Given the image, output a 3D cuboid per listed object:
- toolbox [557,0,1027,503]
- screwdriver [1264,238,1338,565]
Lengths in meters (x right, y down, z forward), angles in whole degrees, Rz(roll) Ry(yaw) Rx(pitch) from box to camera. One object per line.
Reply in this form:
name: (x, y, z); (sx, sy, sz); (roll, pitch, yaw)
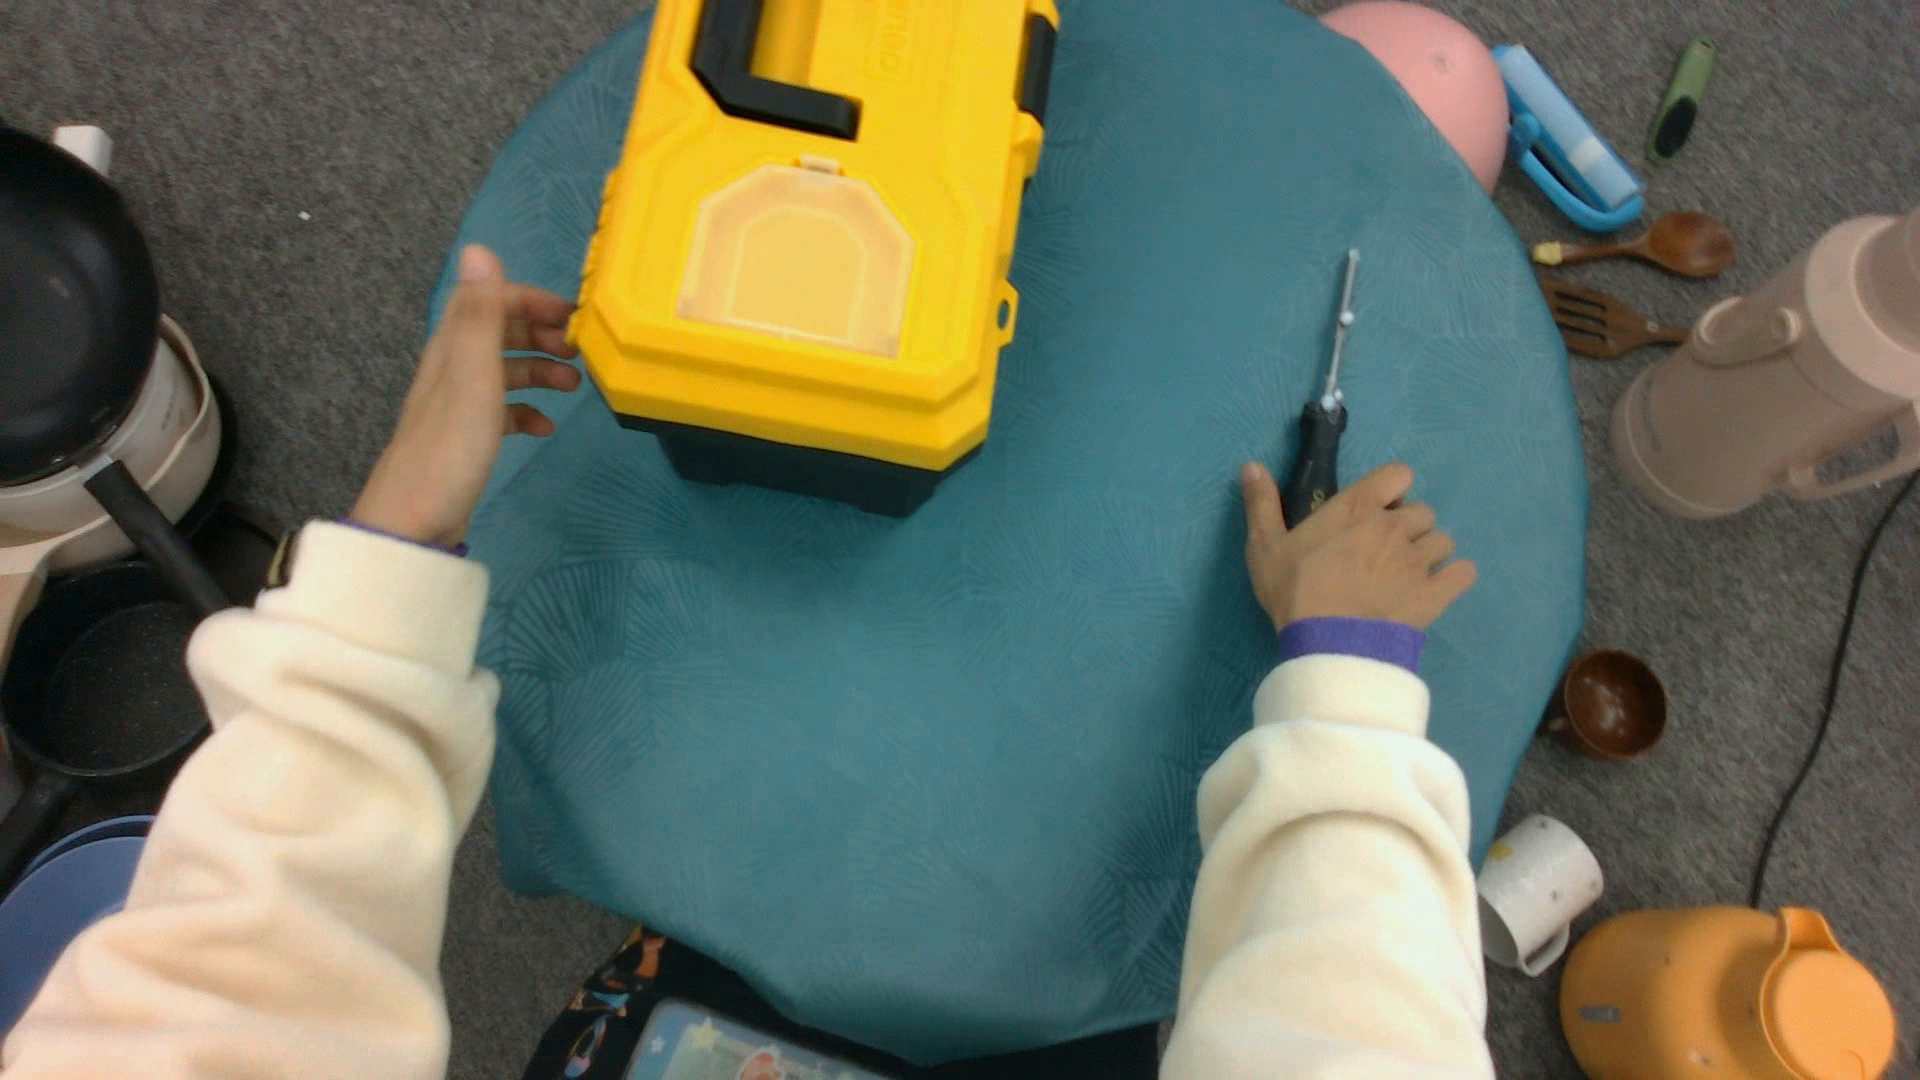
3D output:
toolbox: (-0.060, -0.199, 0.645); (0.181, 0.172, 0.352); (10, 71, -4)
screwdriver: (0.184, -0.078, 0.711); (0.031, 0.031, 0.197); (15, 70, -2)
